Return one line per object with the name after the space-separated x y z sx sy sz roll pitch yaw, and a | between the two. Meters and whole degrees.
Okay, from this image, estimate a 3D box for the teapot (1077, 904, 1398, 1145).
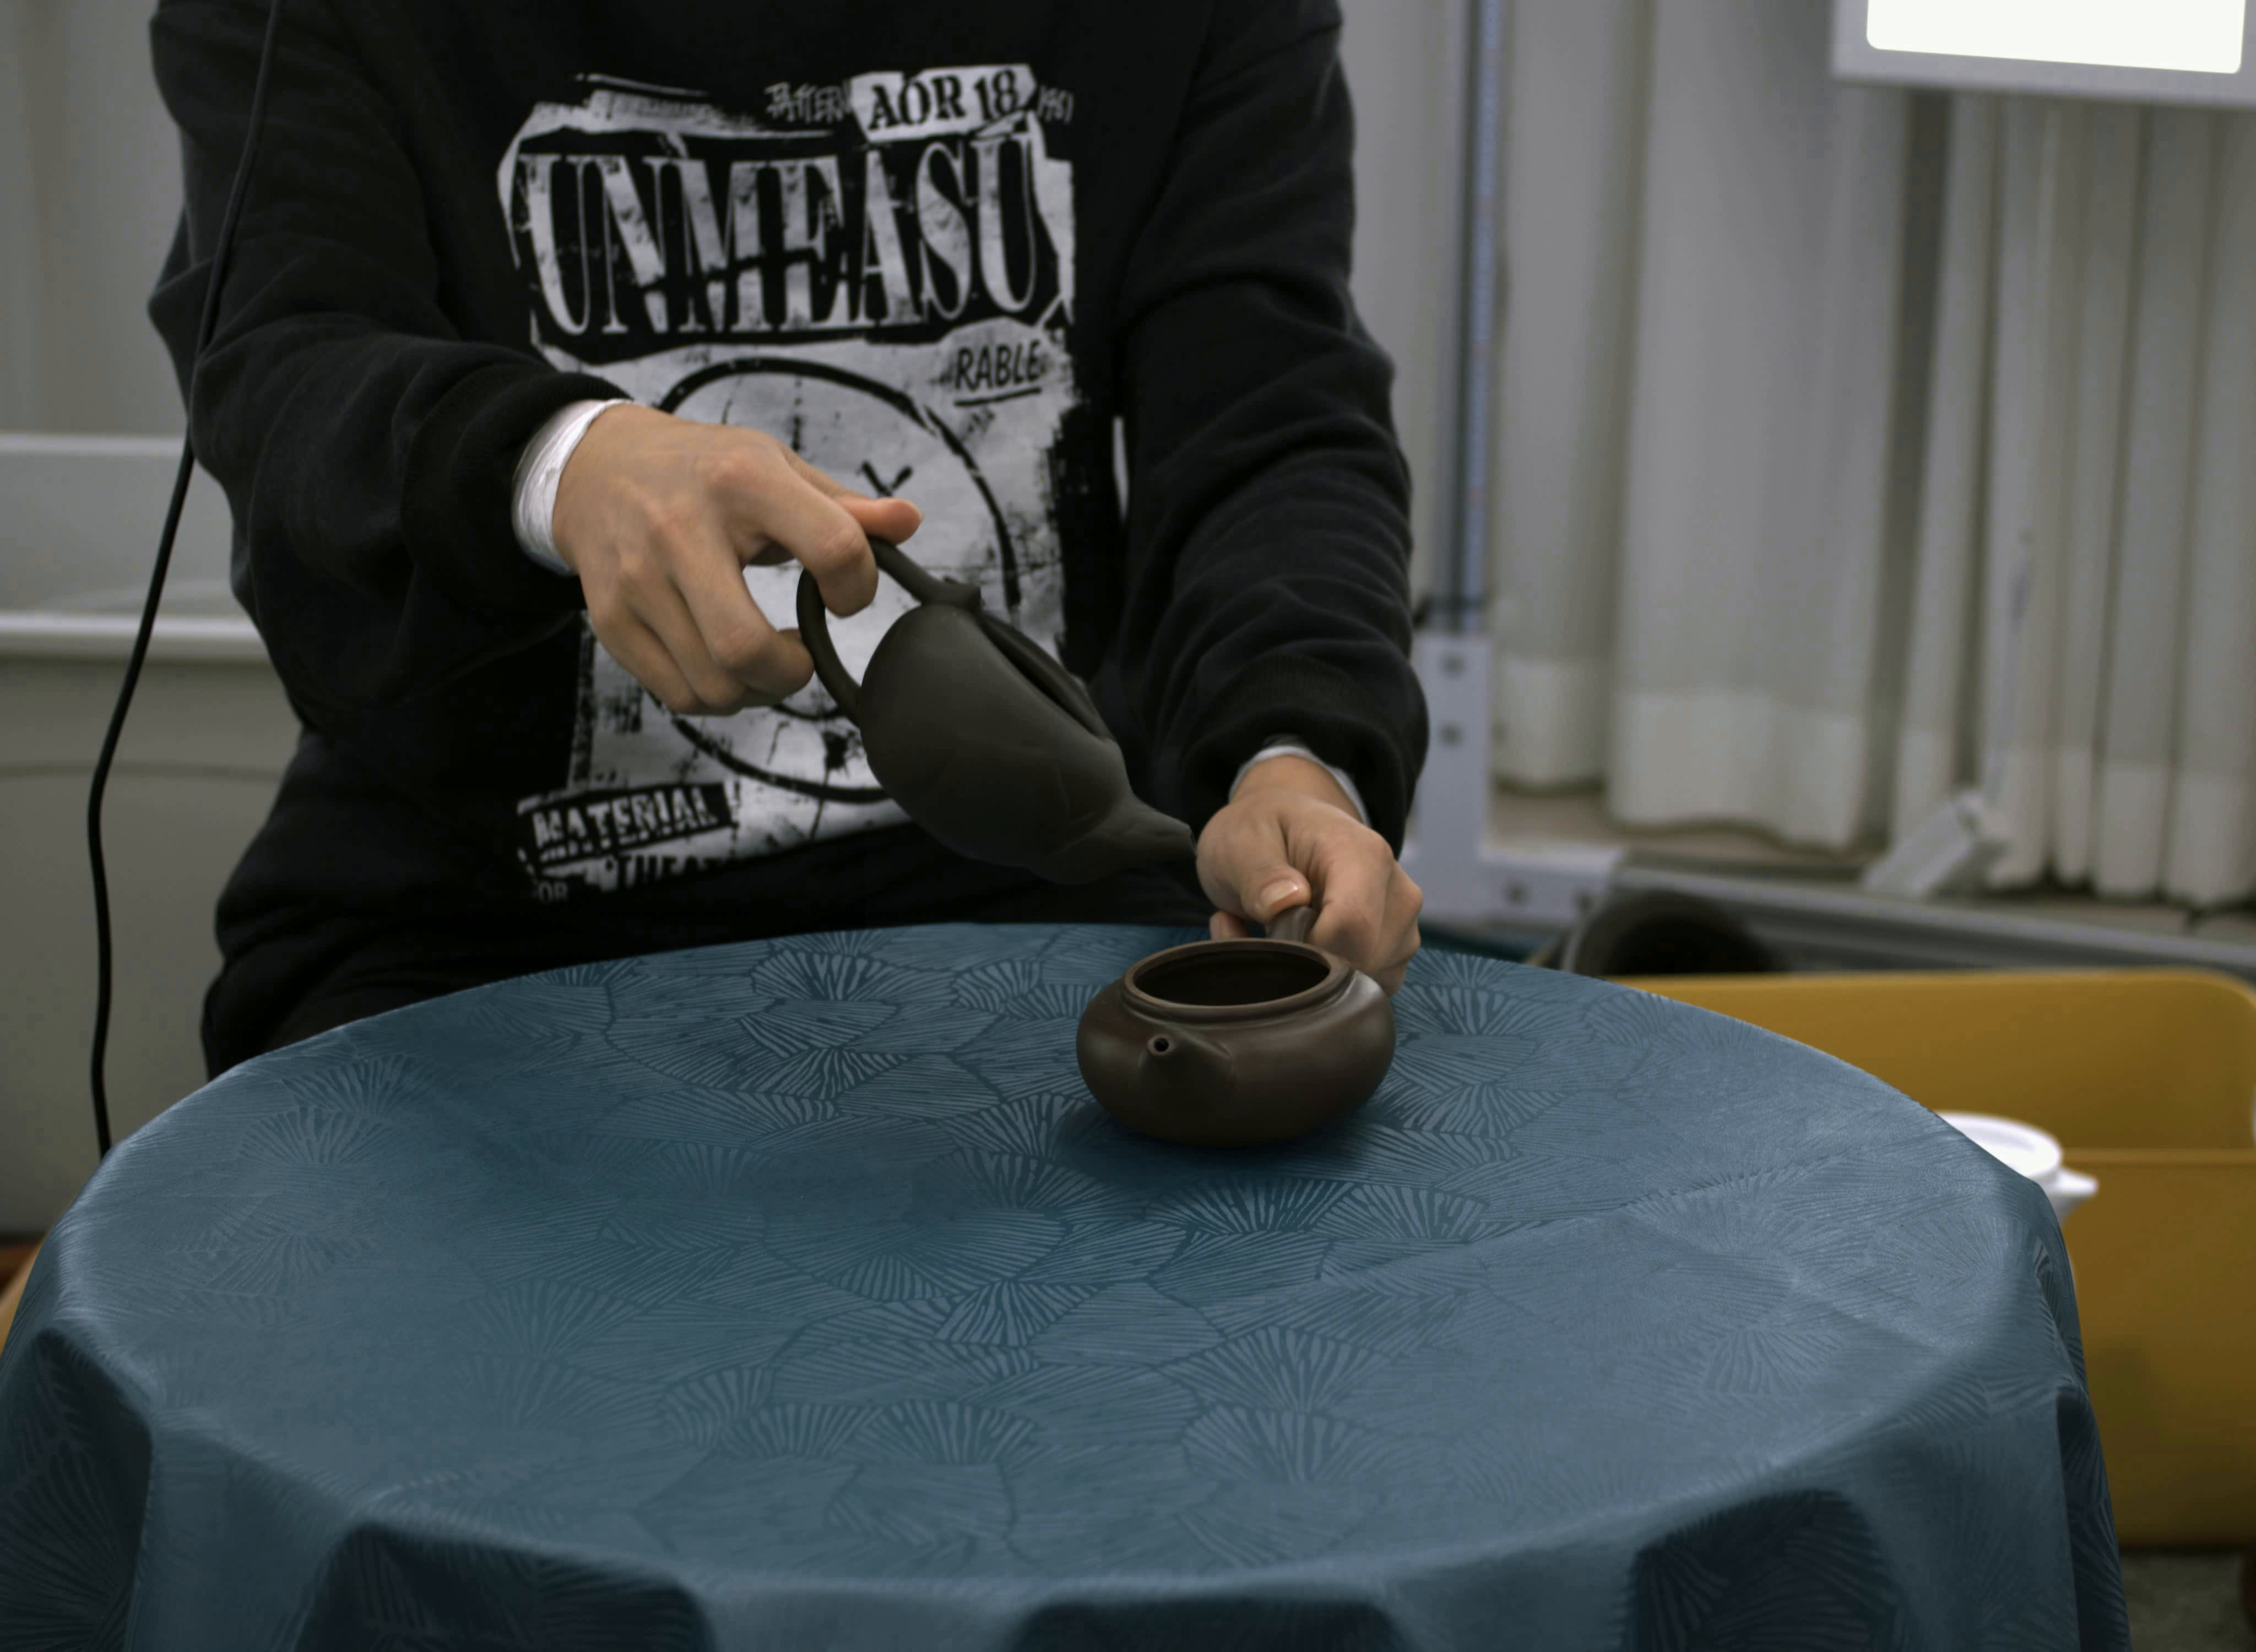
0.036 0.065 1.684 0.102 0.054 0.153 3 19 13 | teapot

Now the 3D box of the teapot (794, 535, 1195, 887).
-0.046 -0.030 1.656 0.154 0.064 0.092 44 9 1 | teapot
